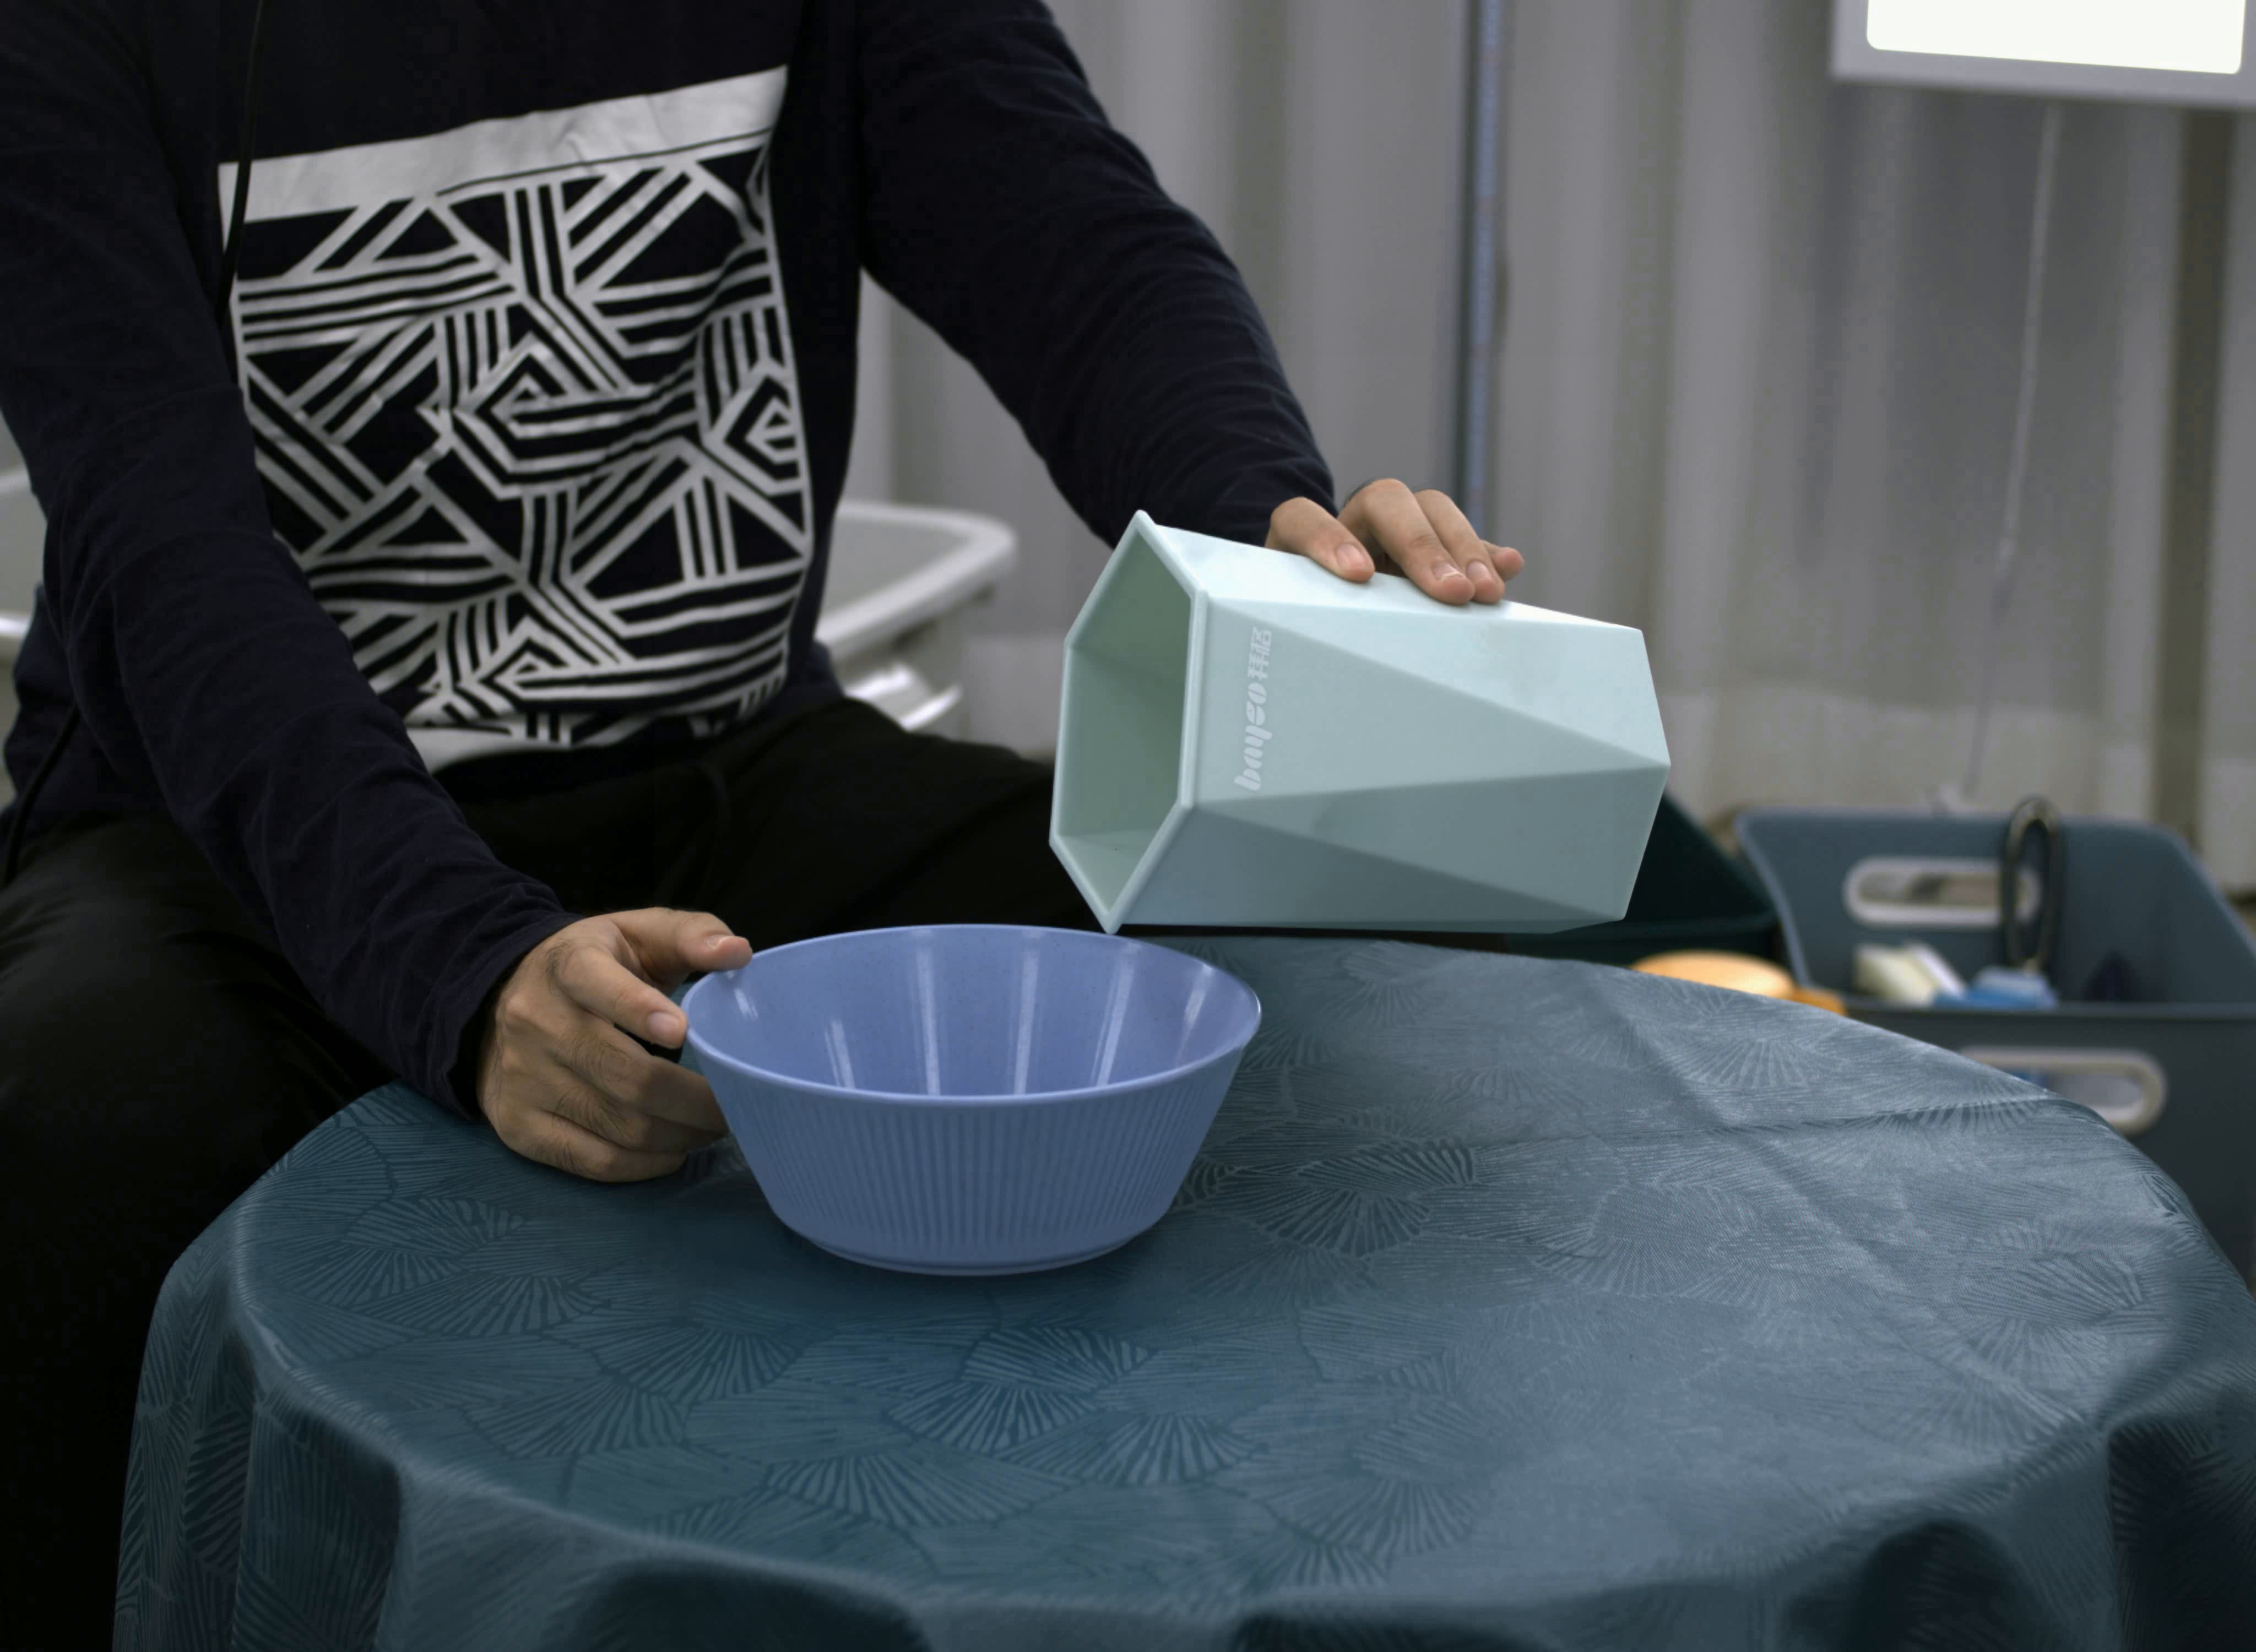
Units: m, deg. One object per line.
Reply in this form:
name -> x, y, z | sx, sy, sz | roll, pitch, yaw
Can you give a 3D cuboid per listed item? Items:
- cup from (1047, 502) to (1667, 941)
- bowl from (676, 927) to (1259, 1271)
cup -> 0.072, -0.024, 1.626 | 0.163, 0.131, 0.115 | 8, -11, -20
bowl -> -0.048, 0.084, 1.592 | 0.175, 0.071, 0.175 | 1, 15, 0
